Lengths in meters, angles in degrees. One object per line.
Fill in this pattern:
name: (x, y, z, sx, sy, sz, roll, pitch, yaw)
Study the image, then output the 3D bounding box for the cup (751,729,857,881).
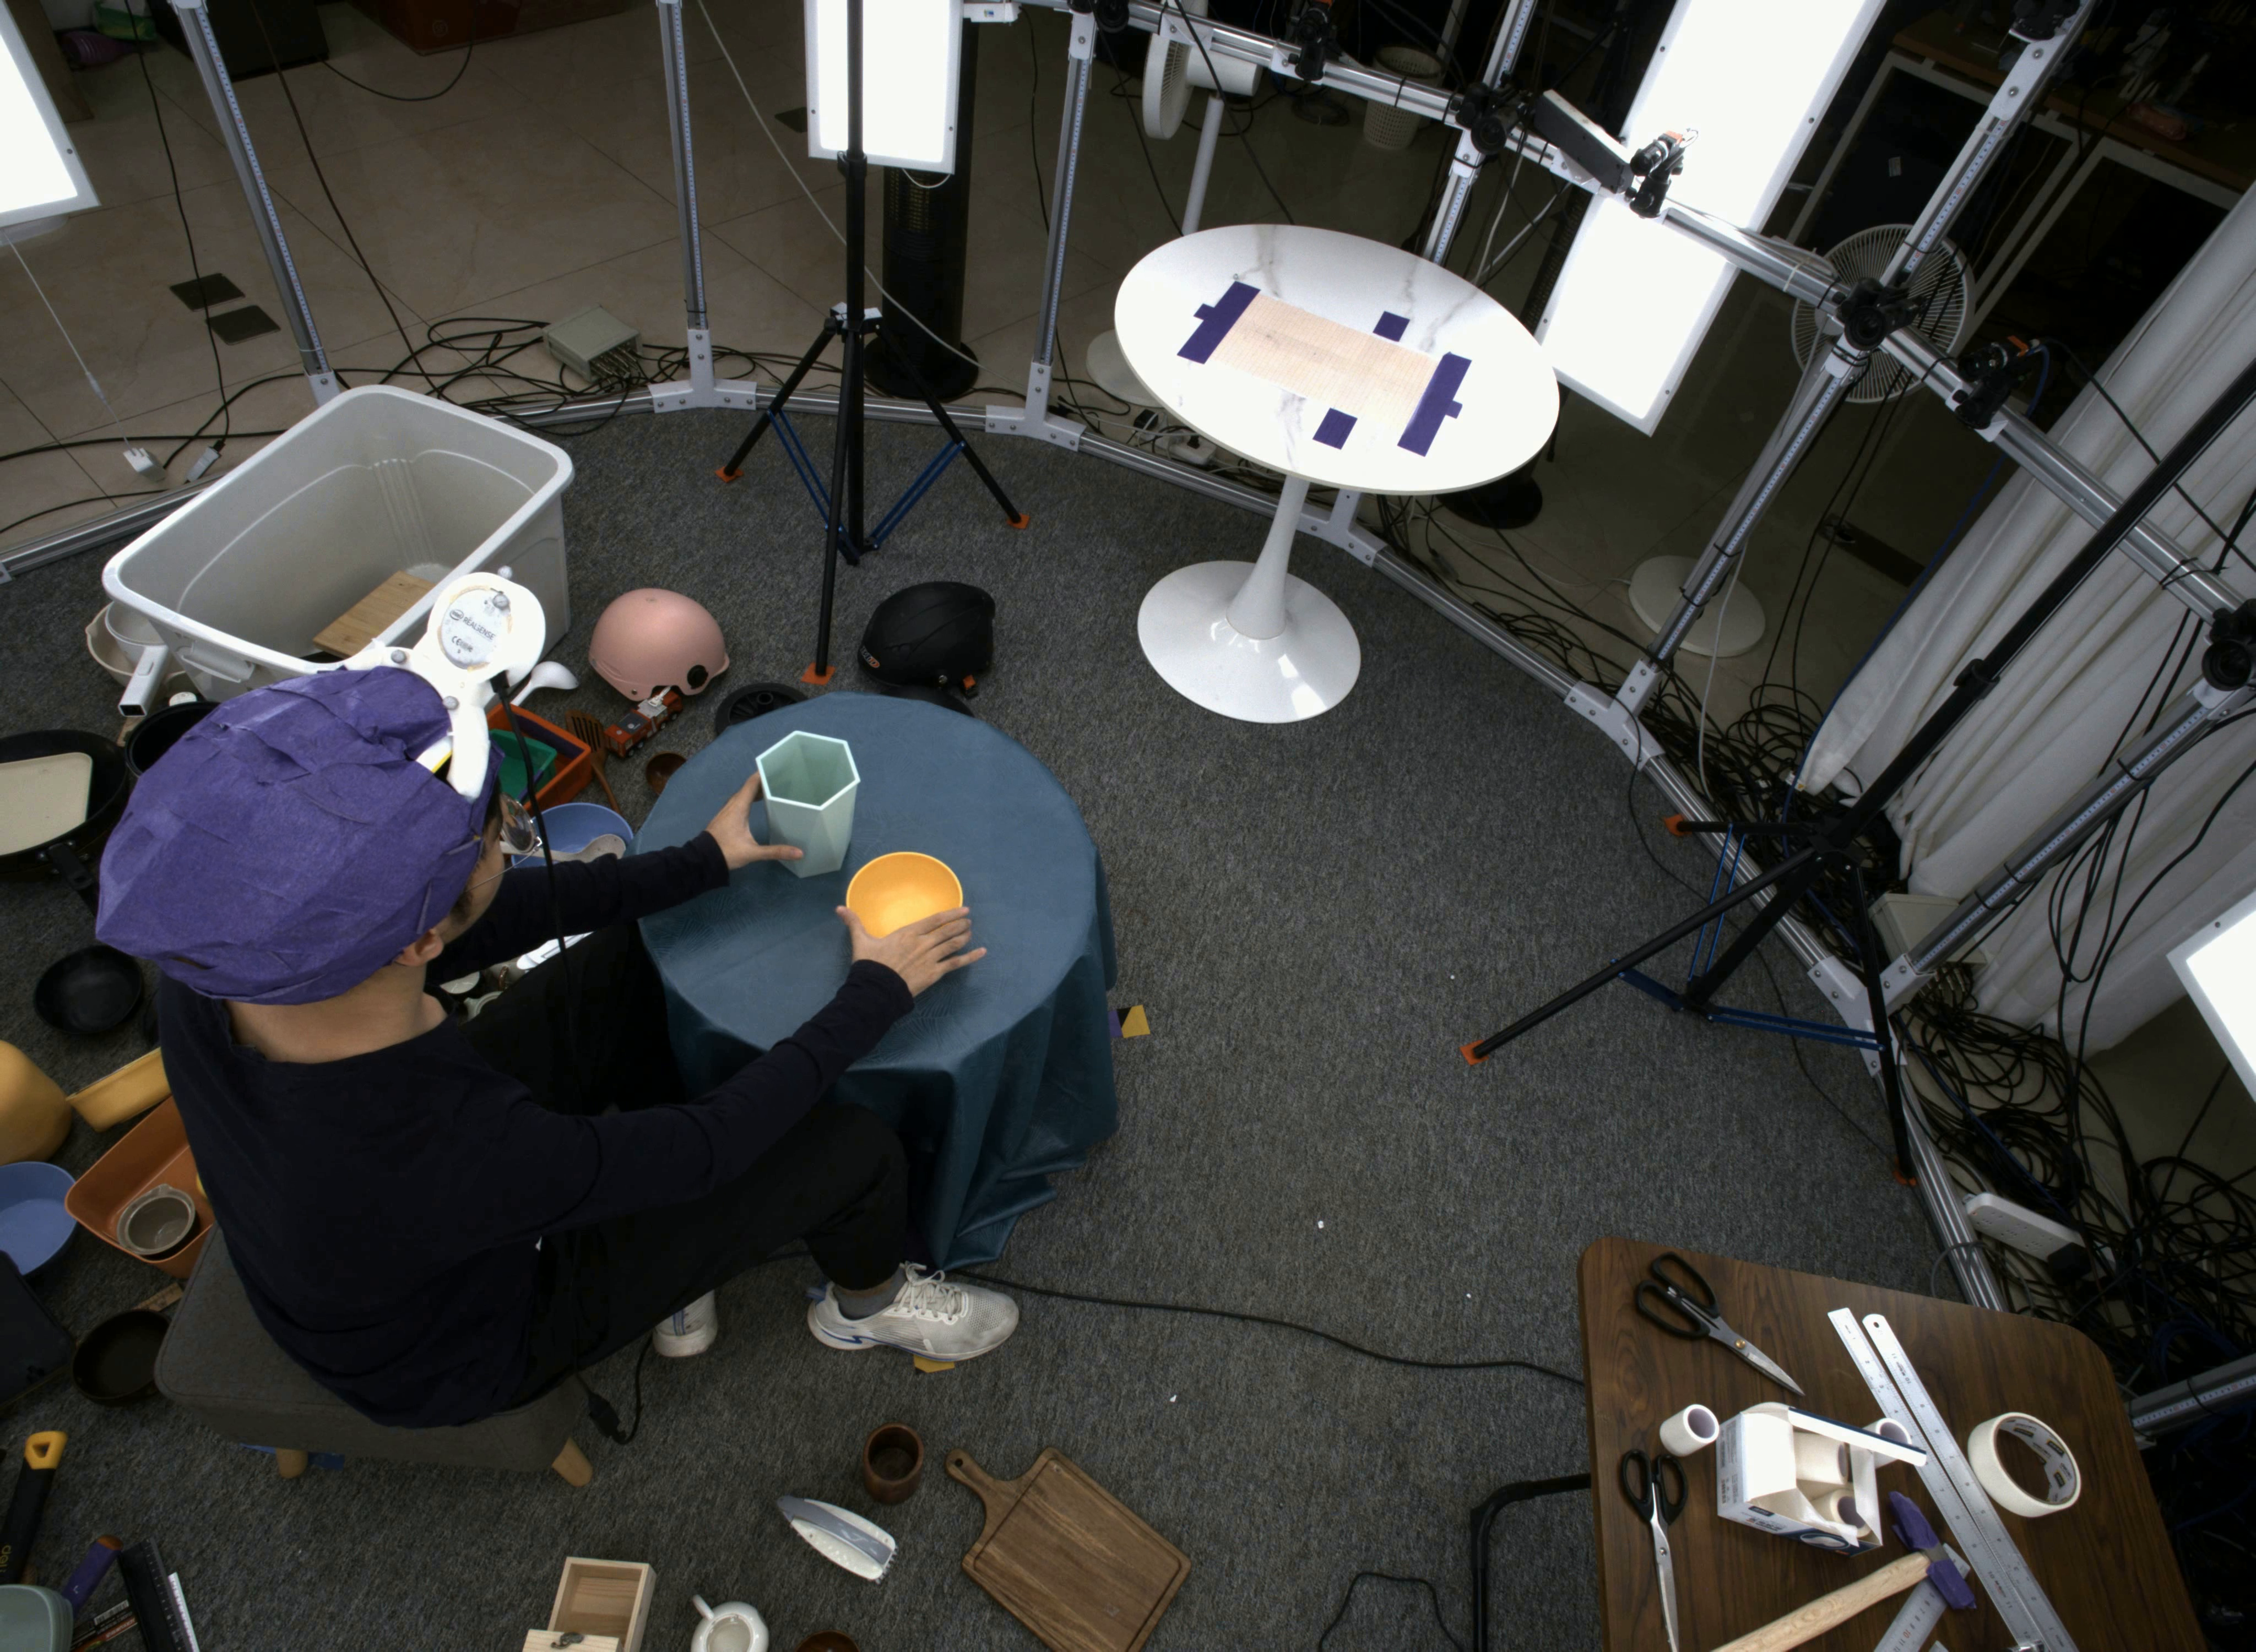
cup: (-0.403, -0.023, 1.643, 0.115, 0.167, 0.127, -17, 57, -21)

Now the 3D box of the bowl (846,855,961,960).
bowl: (-0.281, 0.112, 1.646, 0.144, 0.061, 0.143, 3, 58, -3)
